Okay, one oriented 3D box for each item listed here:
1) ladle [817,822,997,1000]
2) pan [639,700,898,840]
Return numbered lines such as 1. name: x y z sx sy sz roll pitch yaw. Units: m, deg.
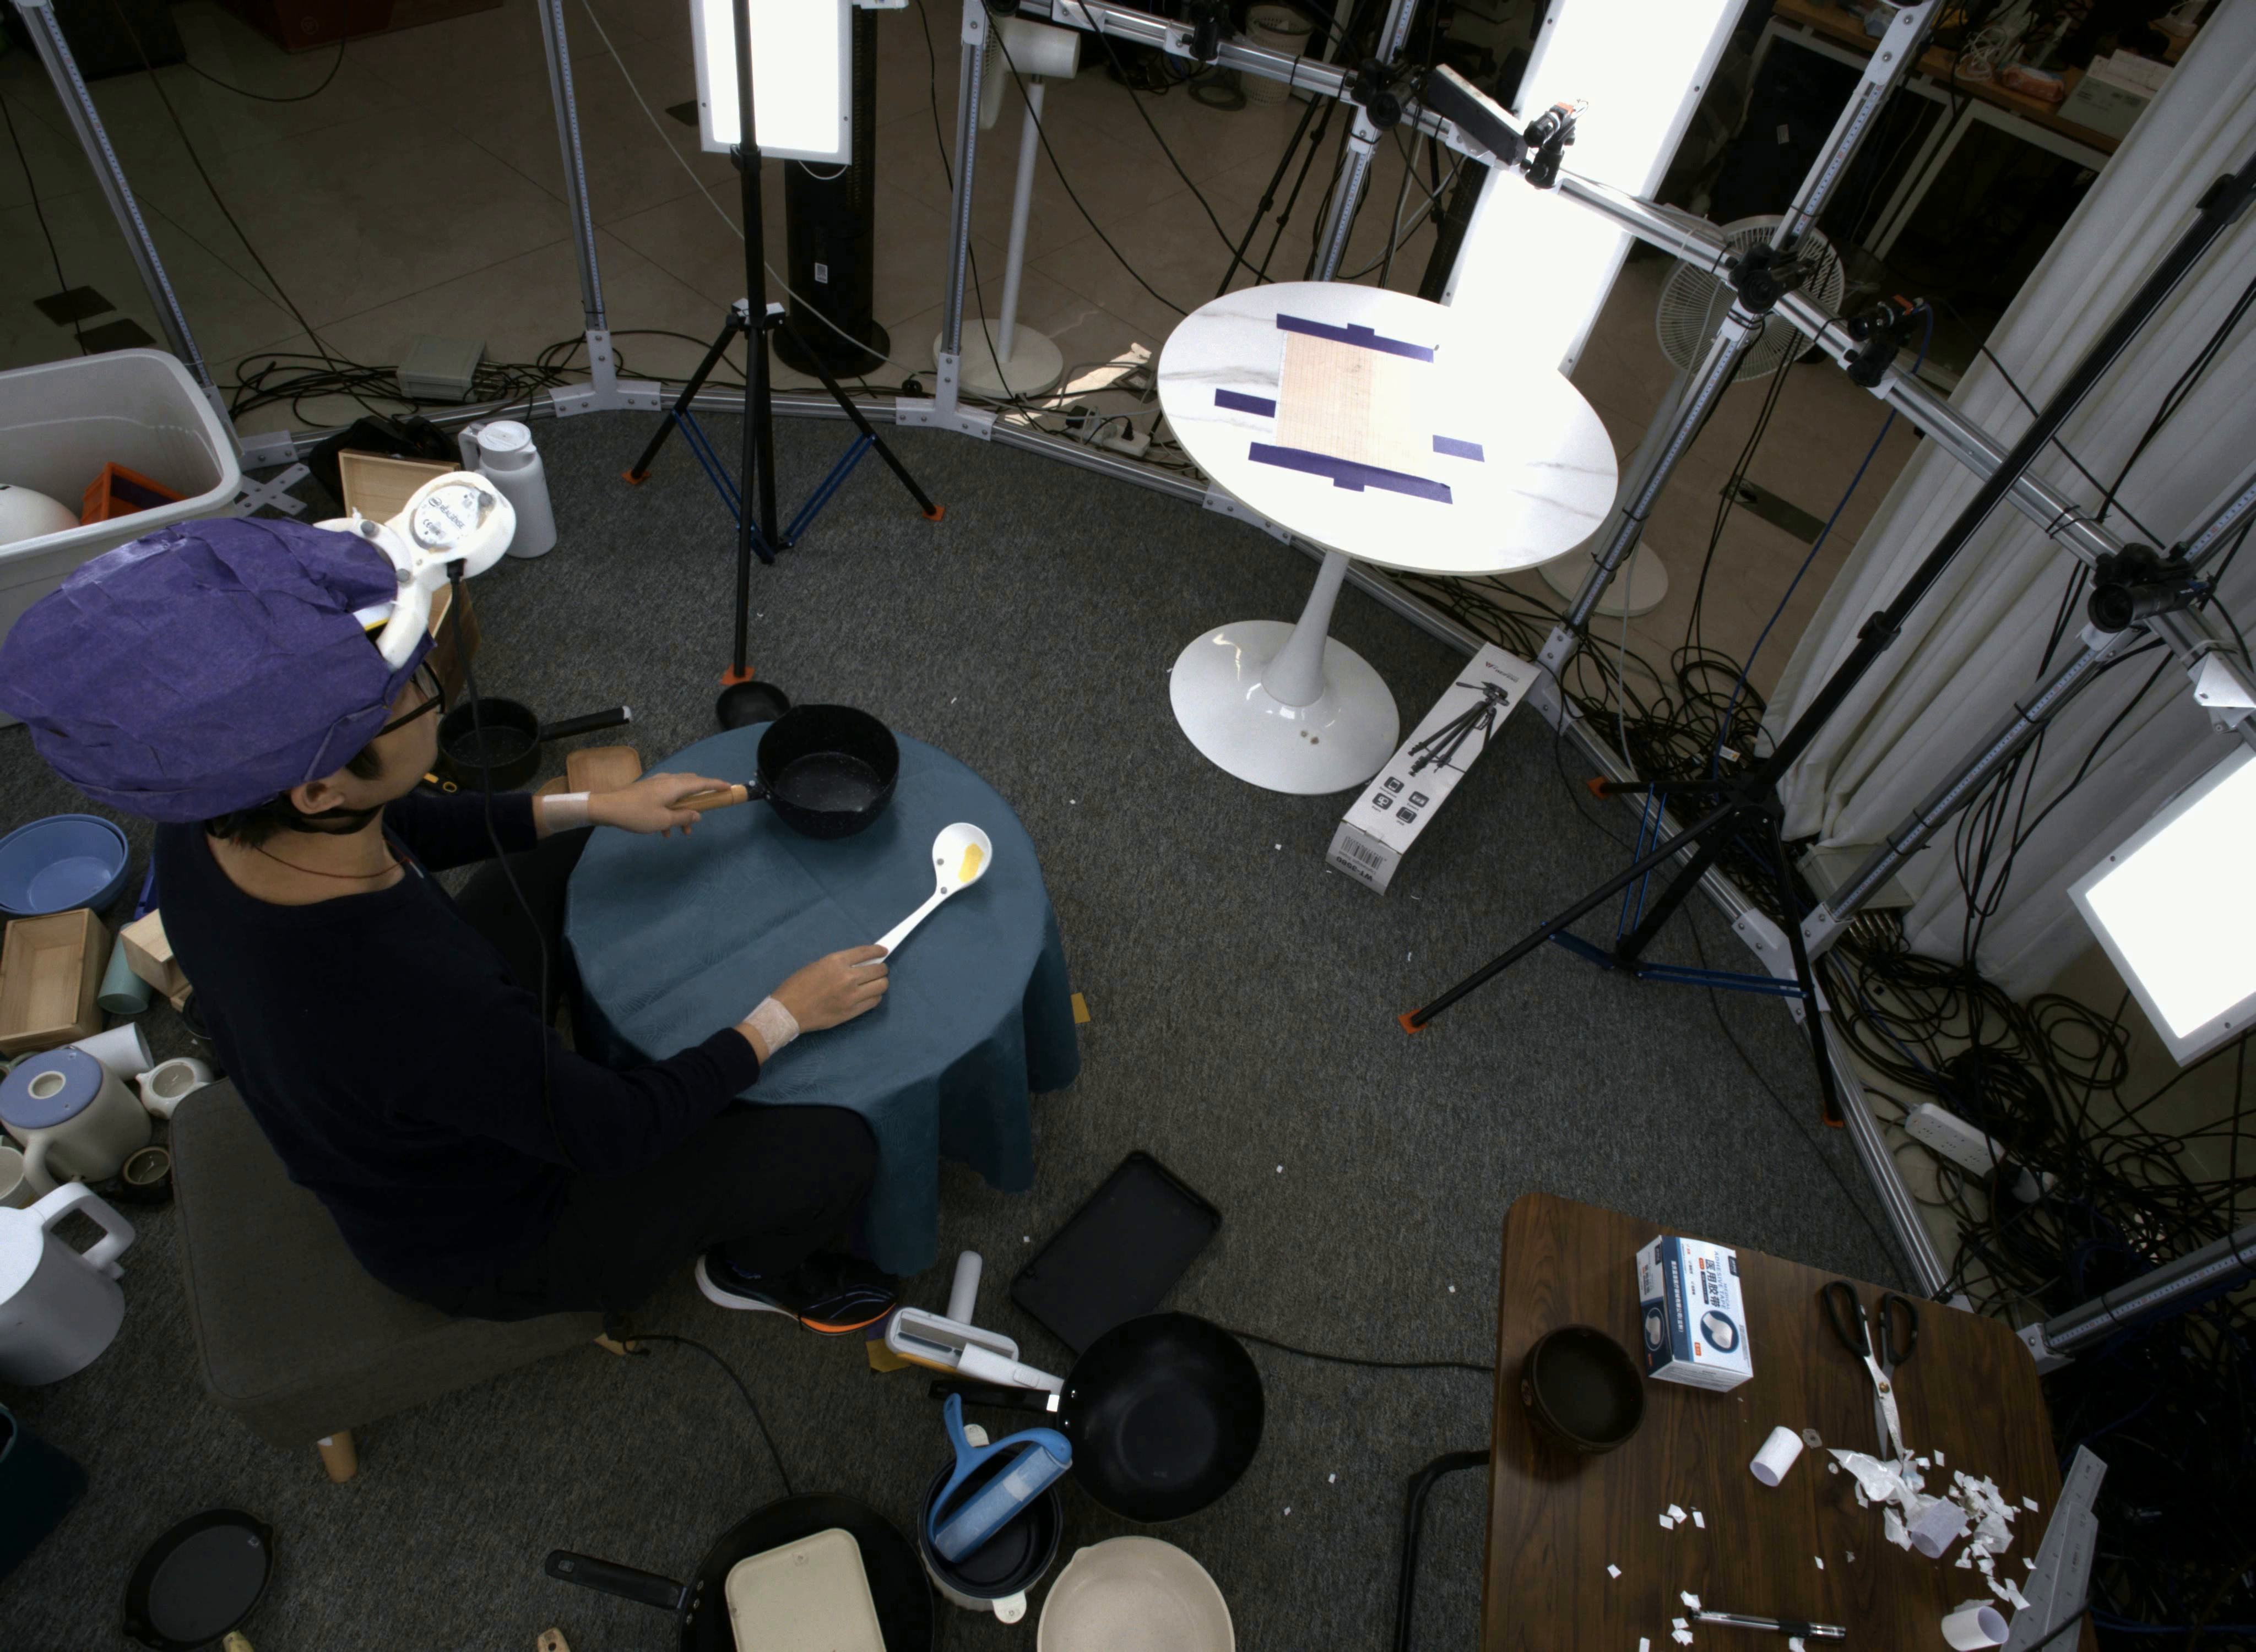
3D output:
1. ladle: -0.278 0.104 1.632 0.087 0.072 0.293 29 48 23
2. pan: -0.460 -0.047 1.670 0.345 0.110 0.202 -24 63 -30
